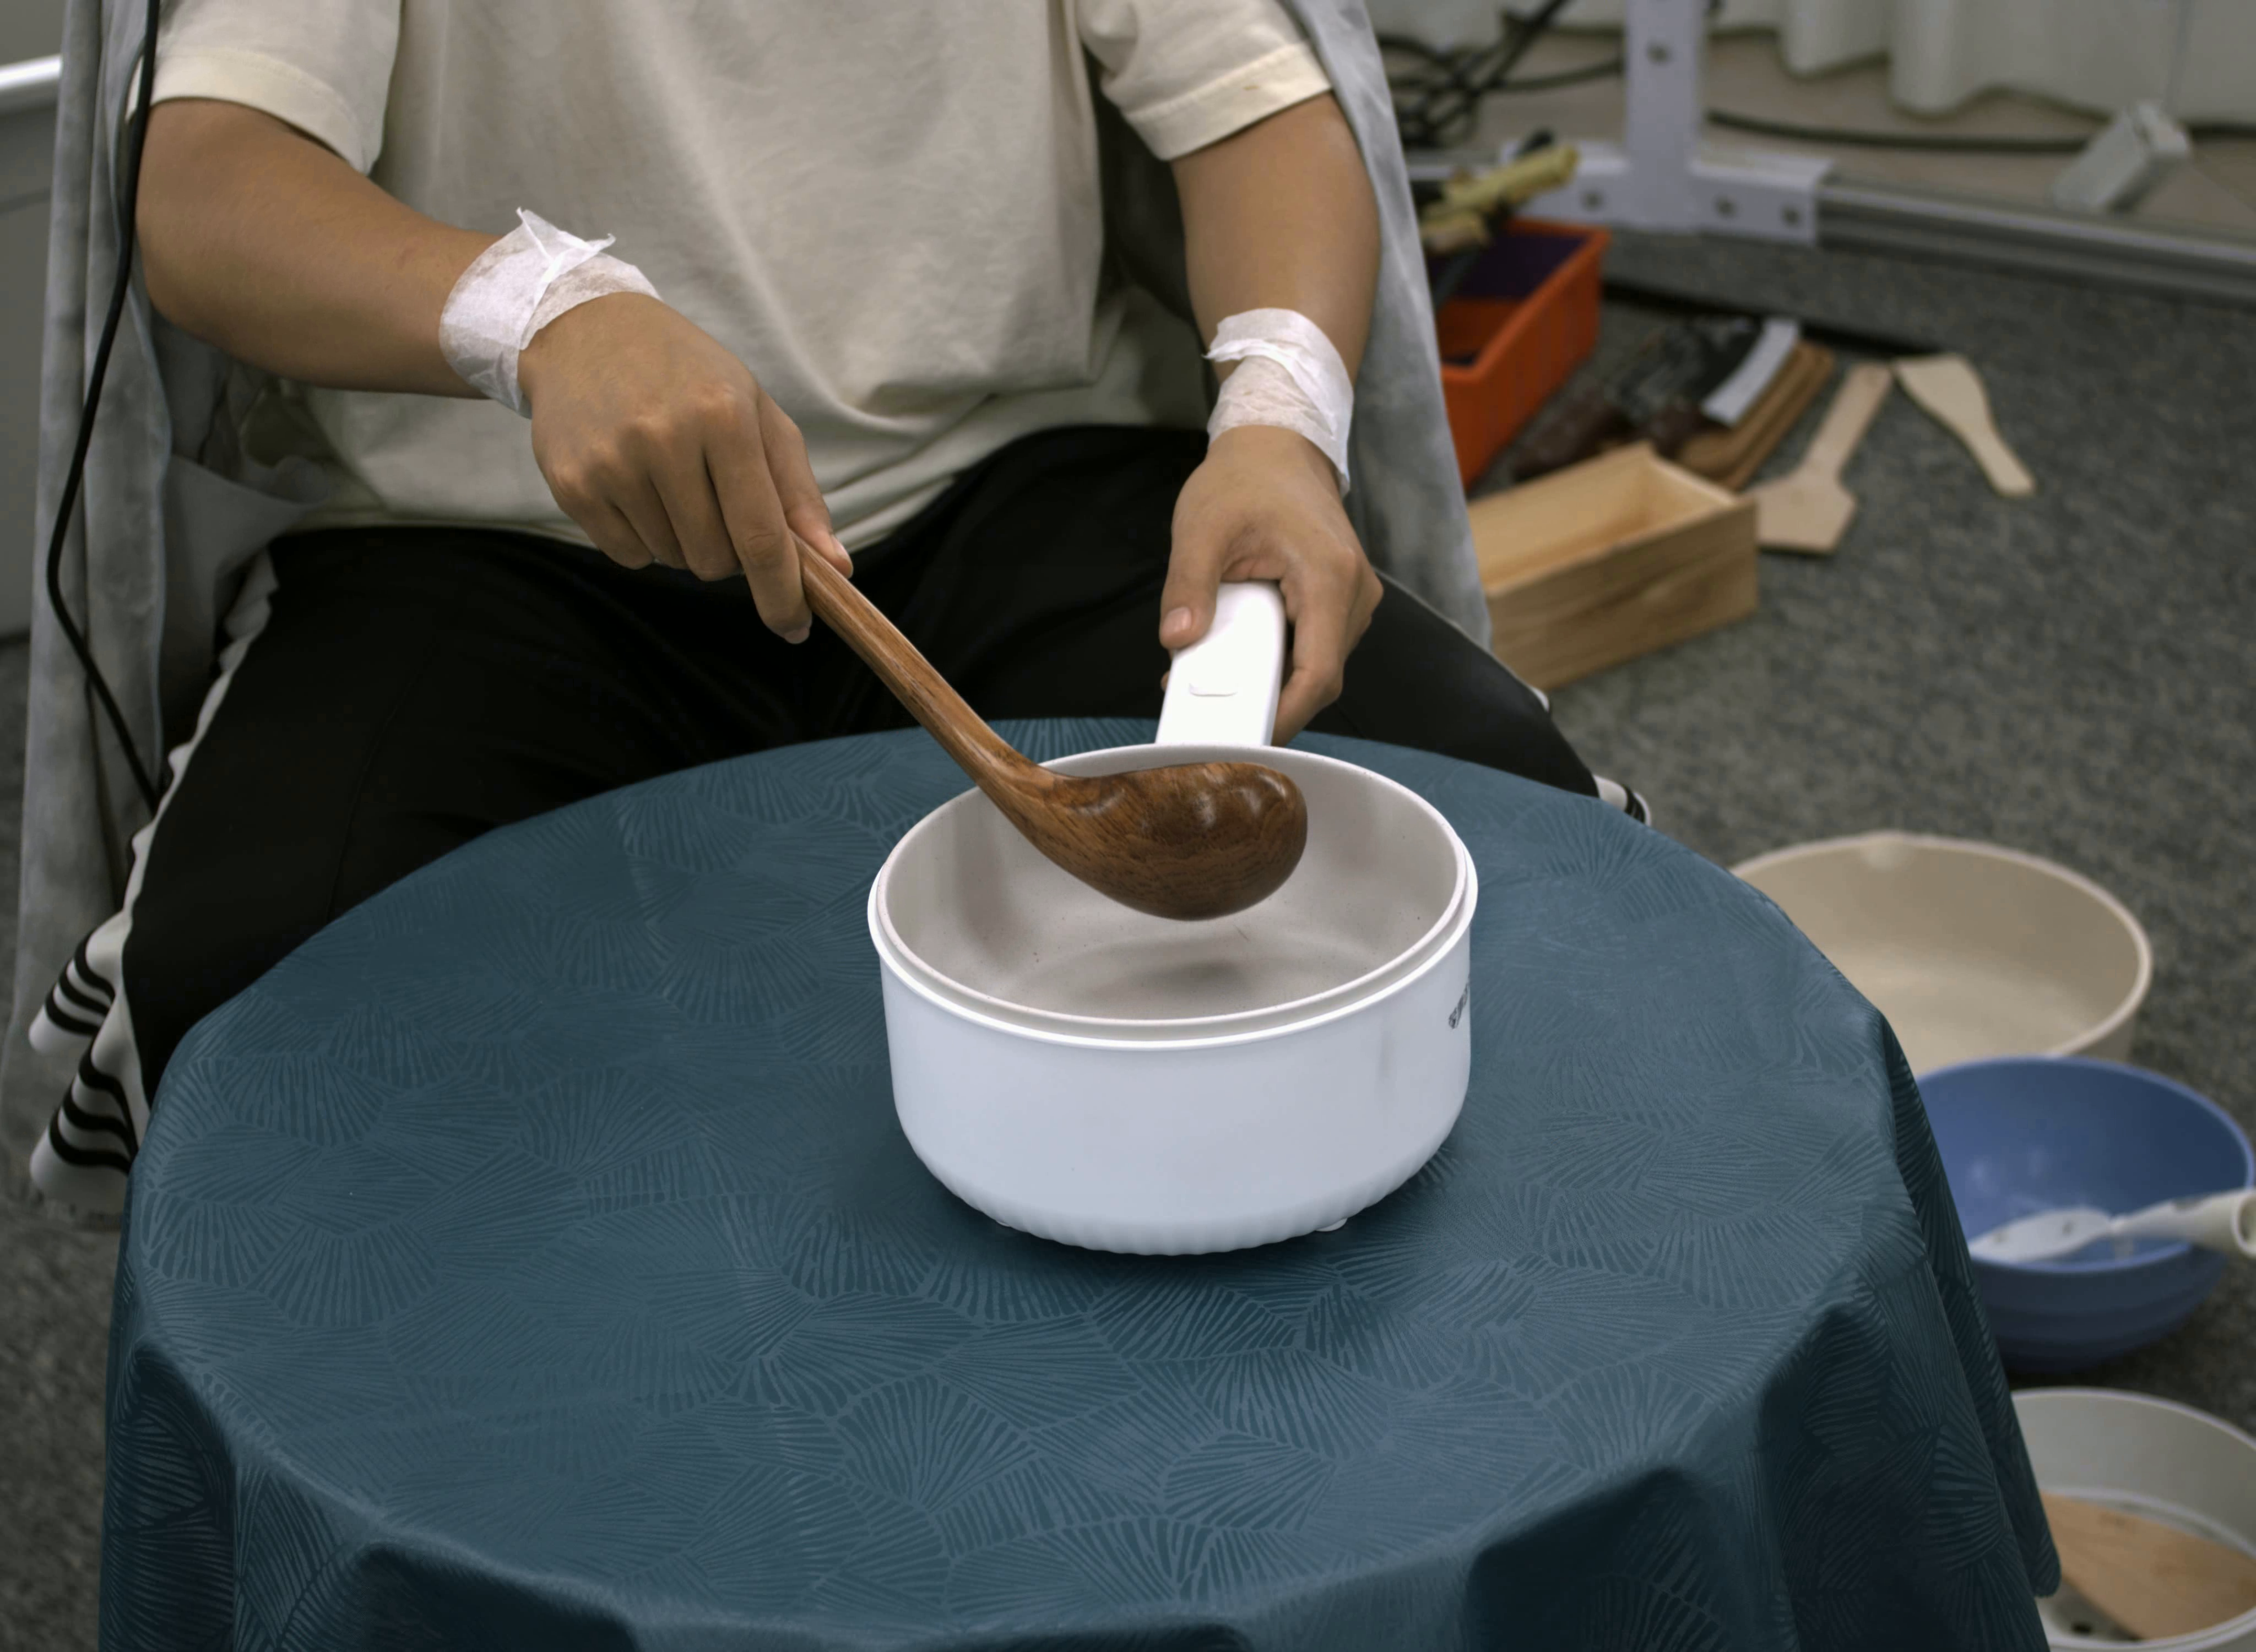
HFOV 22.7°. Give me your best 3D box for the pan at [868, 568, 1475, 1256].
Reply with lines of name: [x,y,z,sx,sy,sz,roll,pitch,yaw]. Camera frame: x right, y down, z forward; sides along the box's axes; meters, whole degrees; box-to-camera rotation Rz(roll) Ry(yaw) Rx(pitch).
pan: [0.026,0.026,1.937,0.200,0.101,0.360,0,26,7]

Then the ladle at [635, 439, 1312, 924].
ladle: [-0.051,-0.062,1.919,0.077,0.080,0.275,-33,62,-31]
